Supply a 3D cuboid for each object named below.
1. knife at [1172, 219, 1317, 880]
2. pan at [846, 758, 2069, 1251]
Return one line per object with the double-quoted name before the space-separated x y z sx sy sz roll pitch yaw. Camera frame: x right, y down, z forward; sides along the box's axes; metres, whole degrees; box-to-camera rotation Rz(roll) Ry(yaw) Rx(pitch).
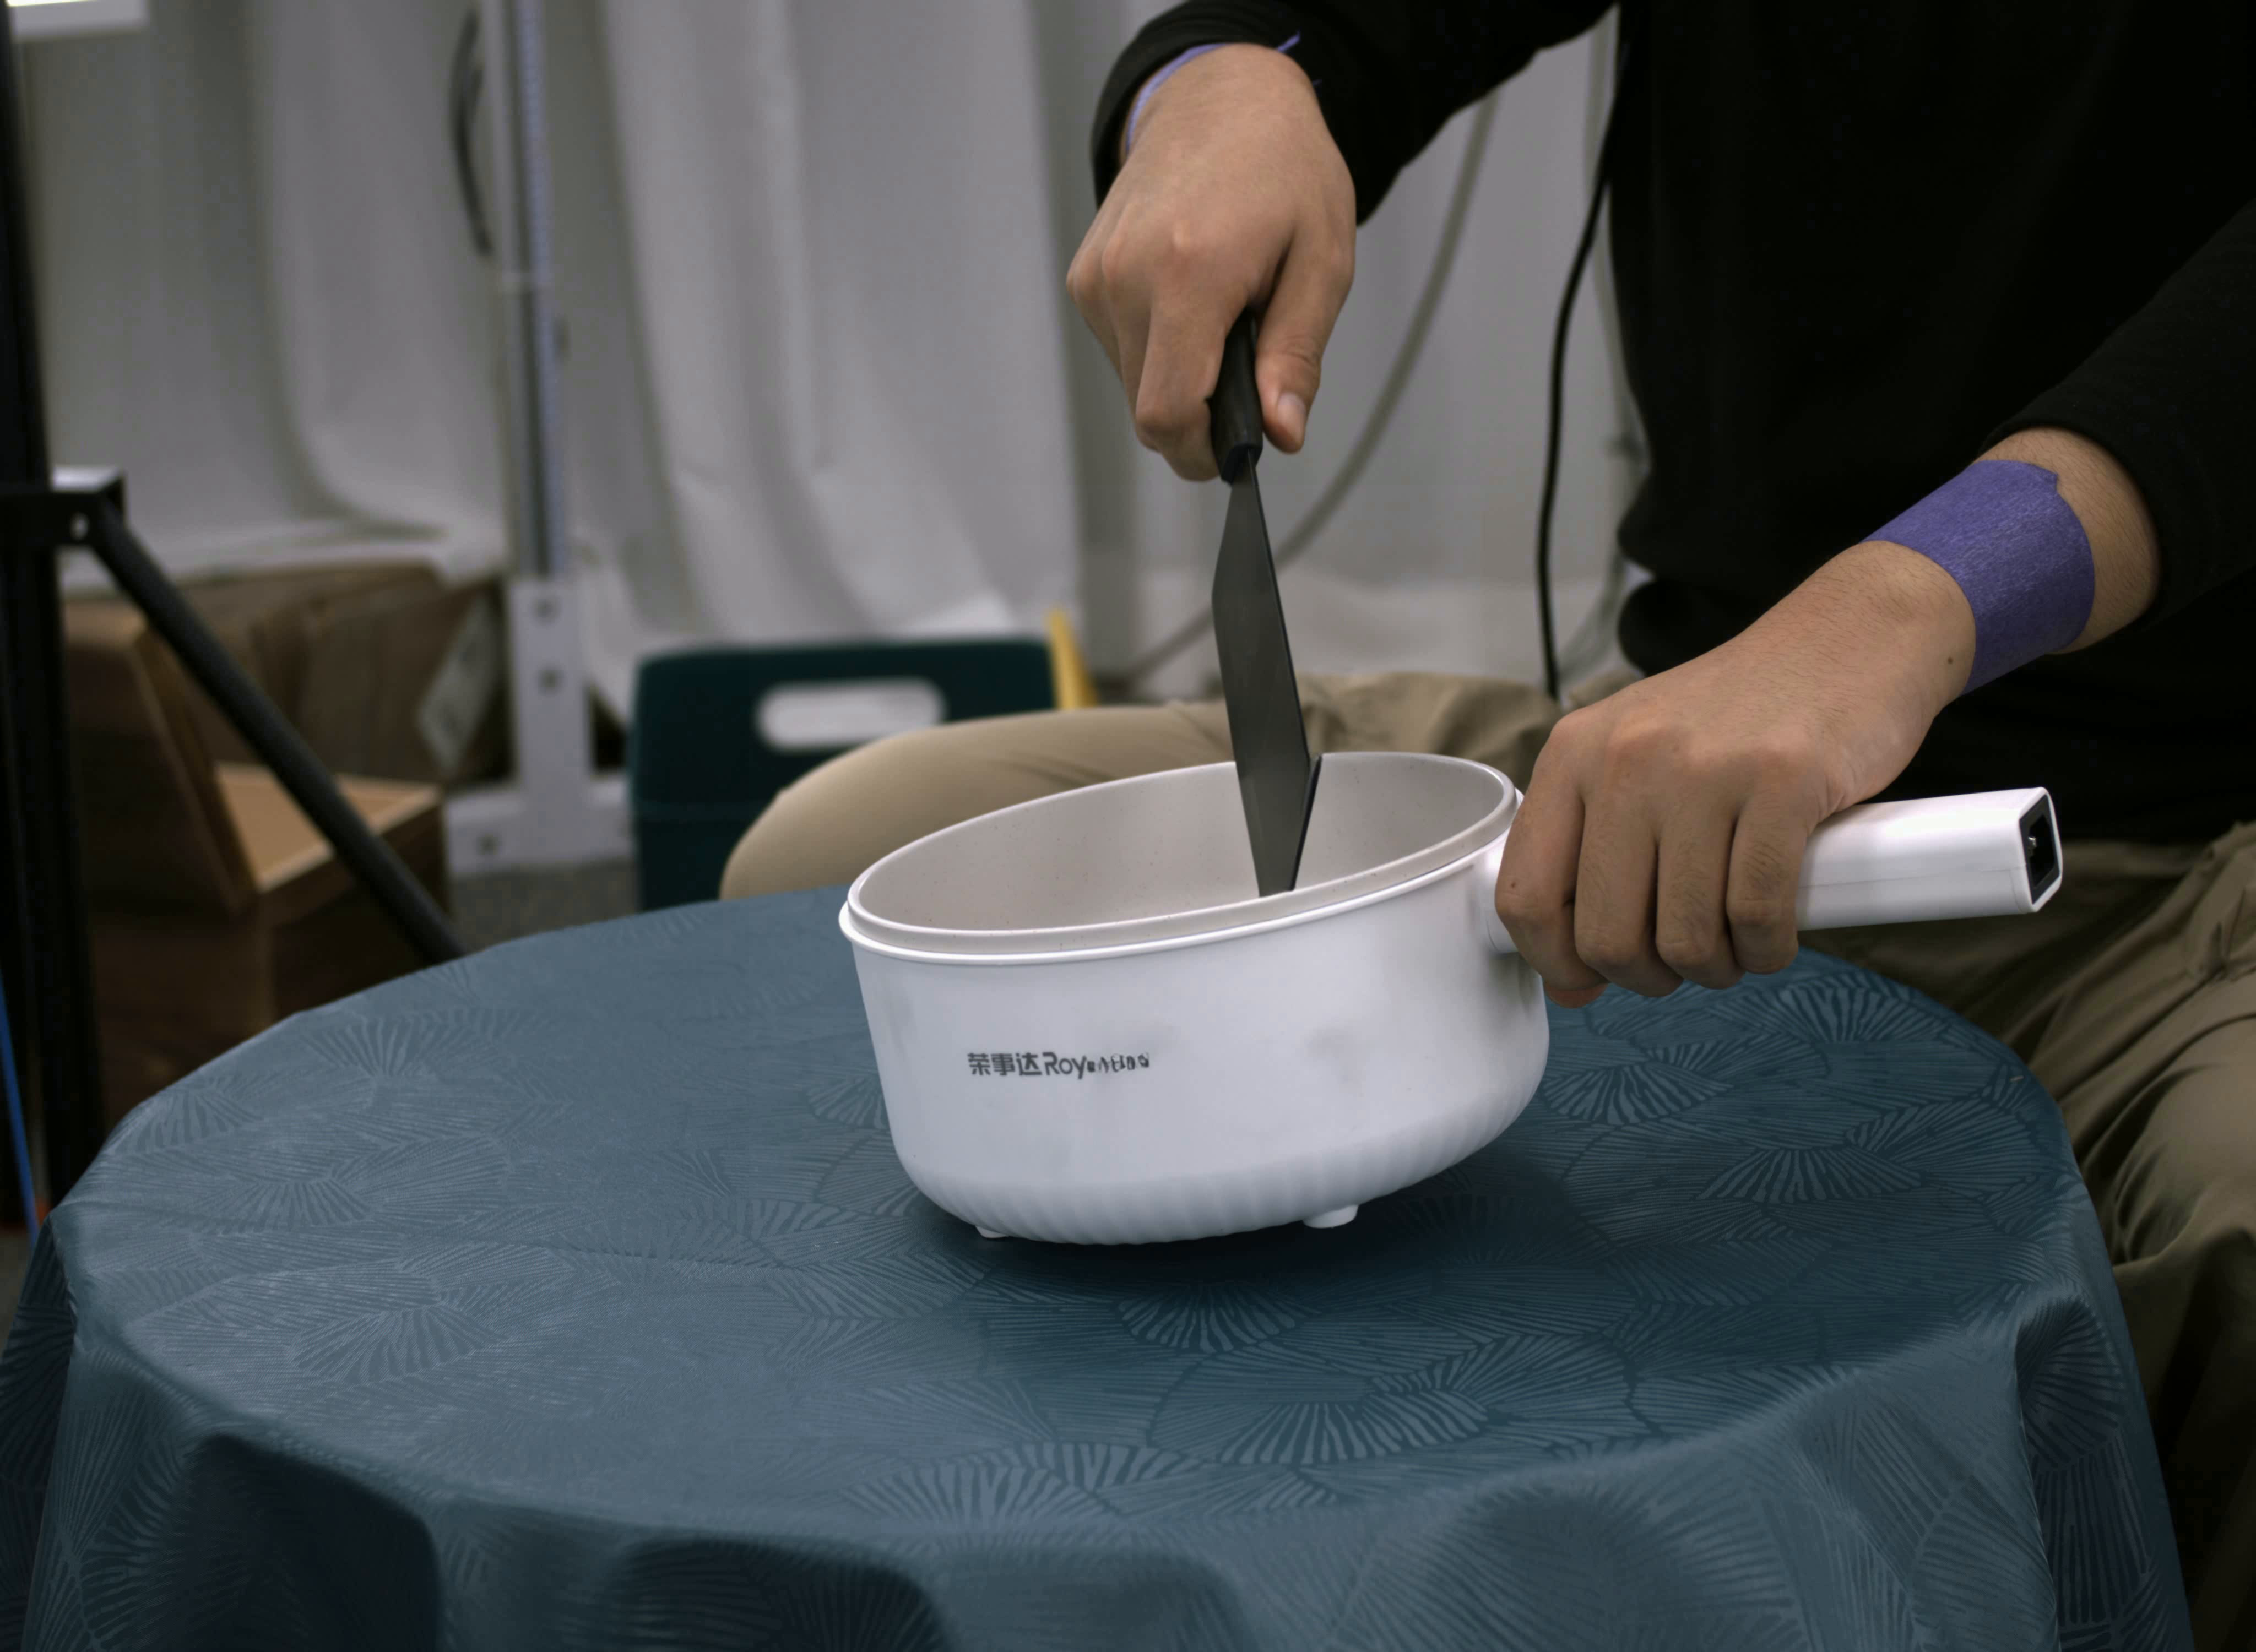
"knife" 0.034 -0.082 1.568 0.020 0.081 0.306 4 41 -9
"pan" 0.093 0.051 1.500 0.360 0.102 0.198 -2 13 27
